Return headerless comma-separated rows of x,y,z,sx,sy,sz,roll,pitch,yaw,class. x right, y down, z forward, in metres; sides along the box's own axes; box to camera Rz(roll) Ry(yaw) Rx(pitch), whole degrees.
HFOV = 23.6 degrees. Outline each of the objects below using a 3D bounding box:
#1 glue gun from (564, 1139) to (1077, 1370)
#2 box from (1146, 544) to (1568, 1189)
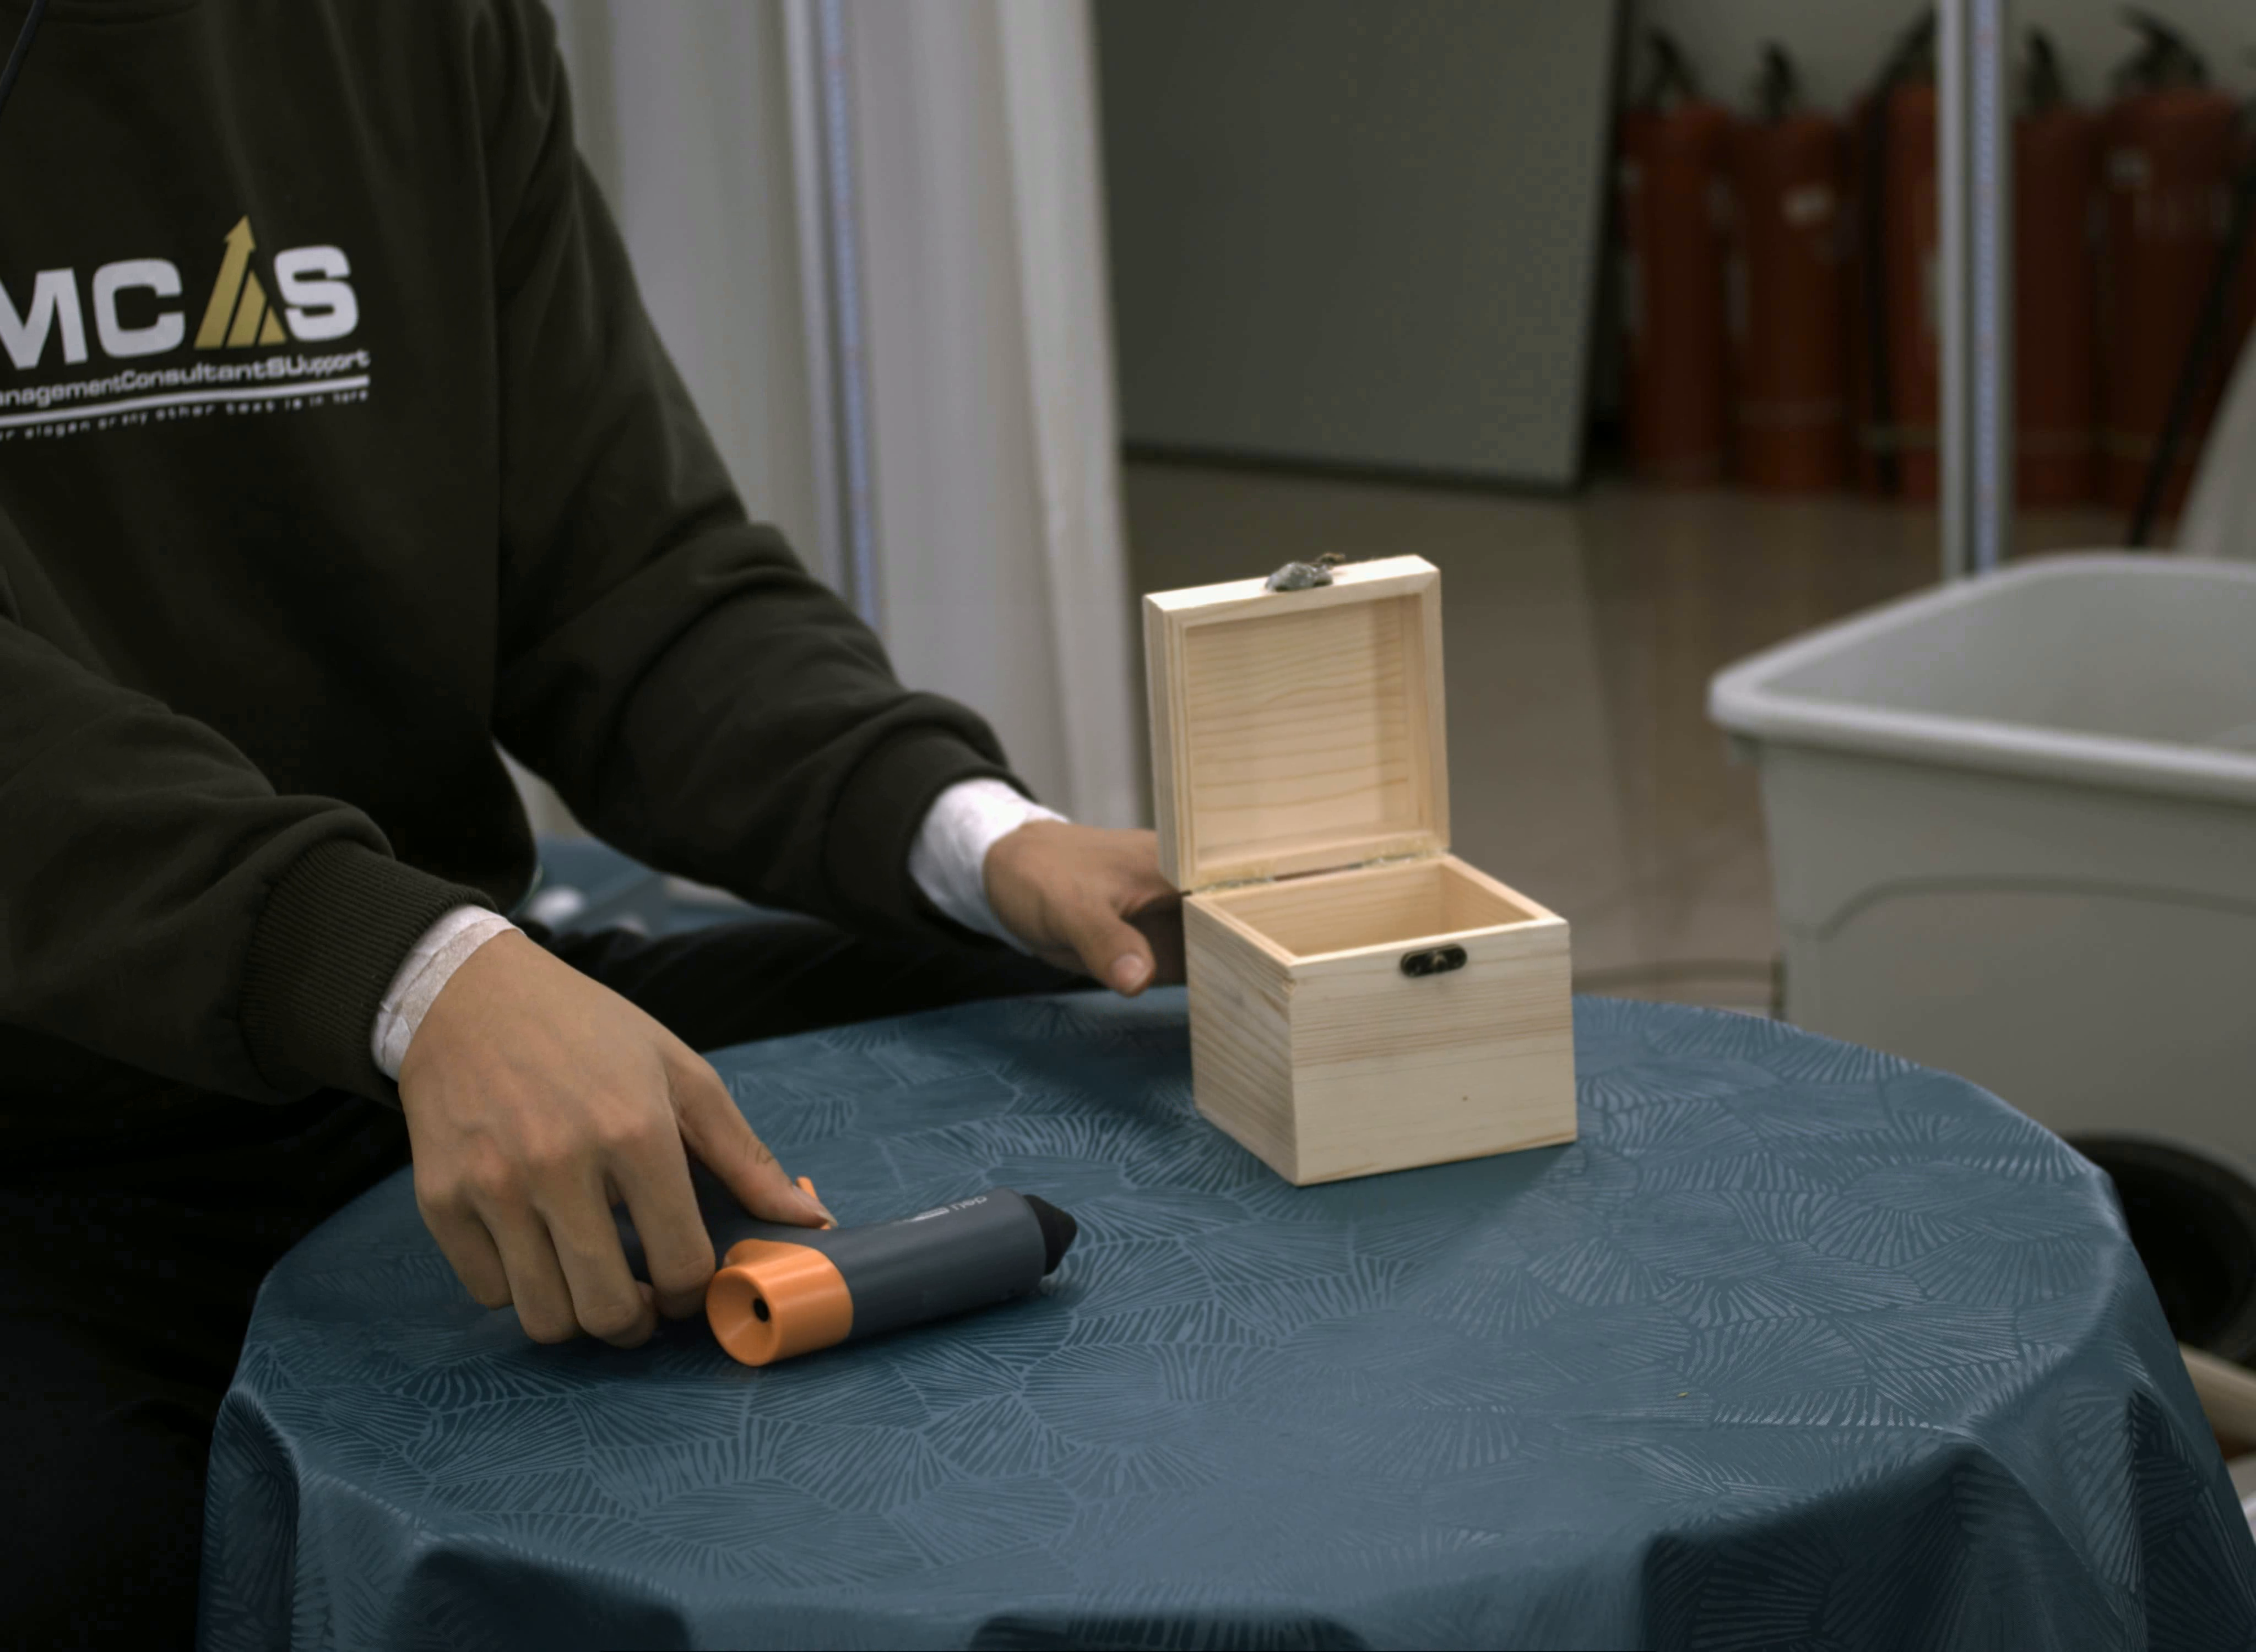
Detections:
-0.099,0.134,1.694,0.141,0.041,0.115,11,18,40,glue gun
0.077,0.010,1.813,0.100,0.186,0.135,-8,15,-19,box
